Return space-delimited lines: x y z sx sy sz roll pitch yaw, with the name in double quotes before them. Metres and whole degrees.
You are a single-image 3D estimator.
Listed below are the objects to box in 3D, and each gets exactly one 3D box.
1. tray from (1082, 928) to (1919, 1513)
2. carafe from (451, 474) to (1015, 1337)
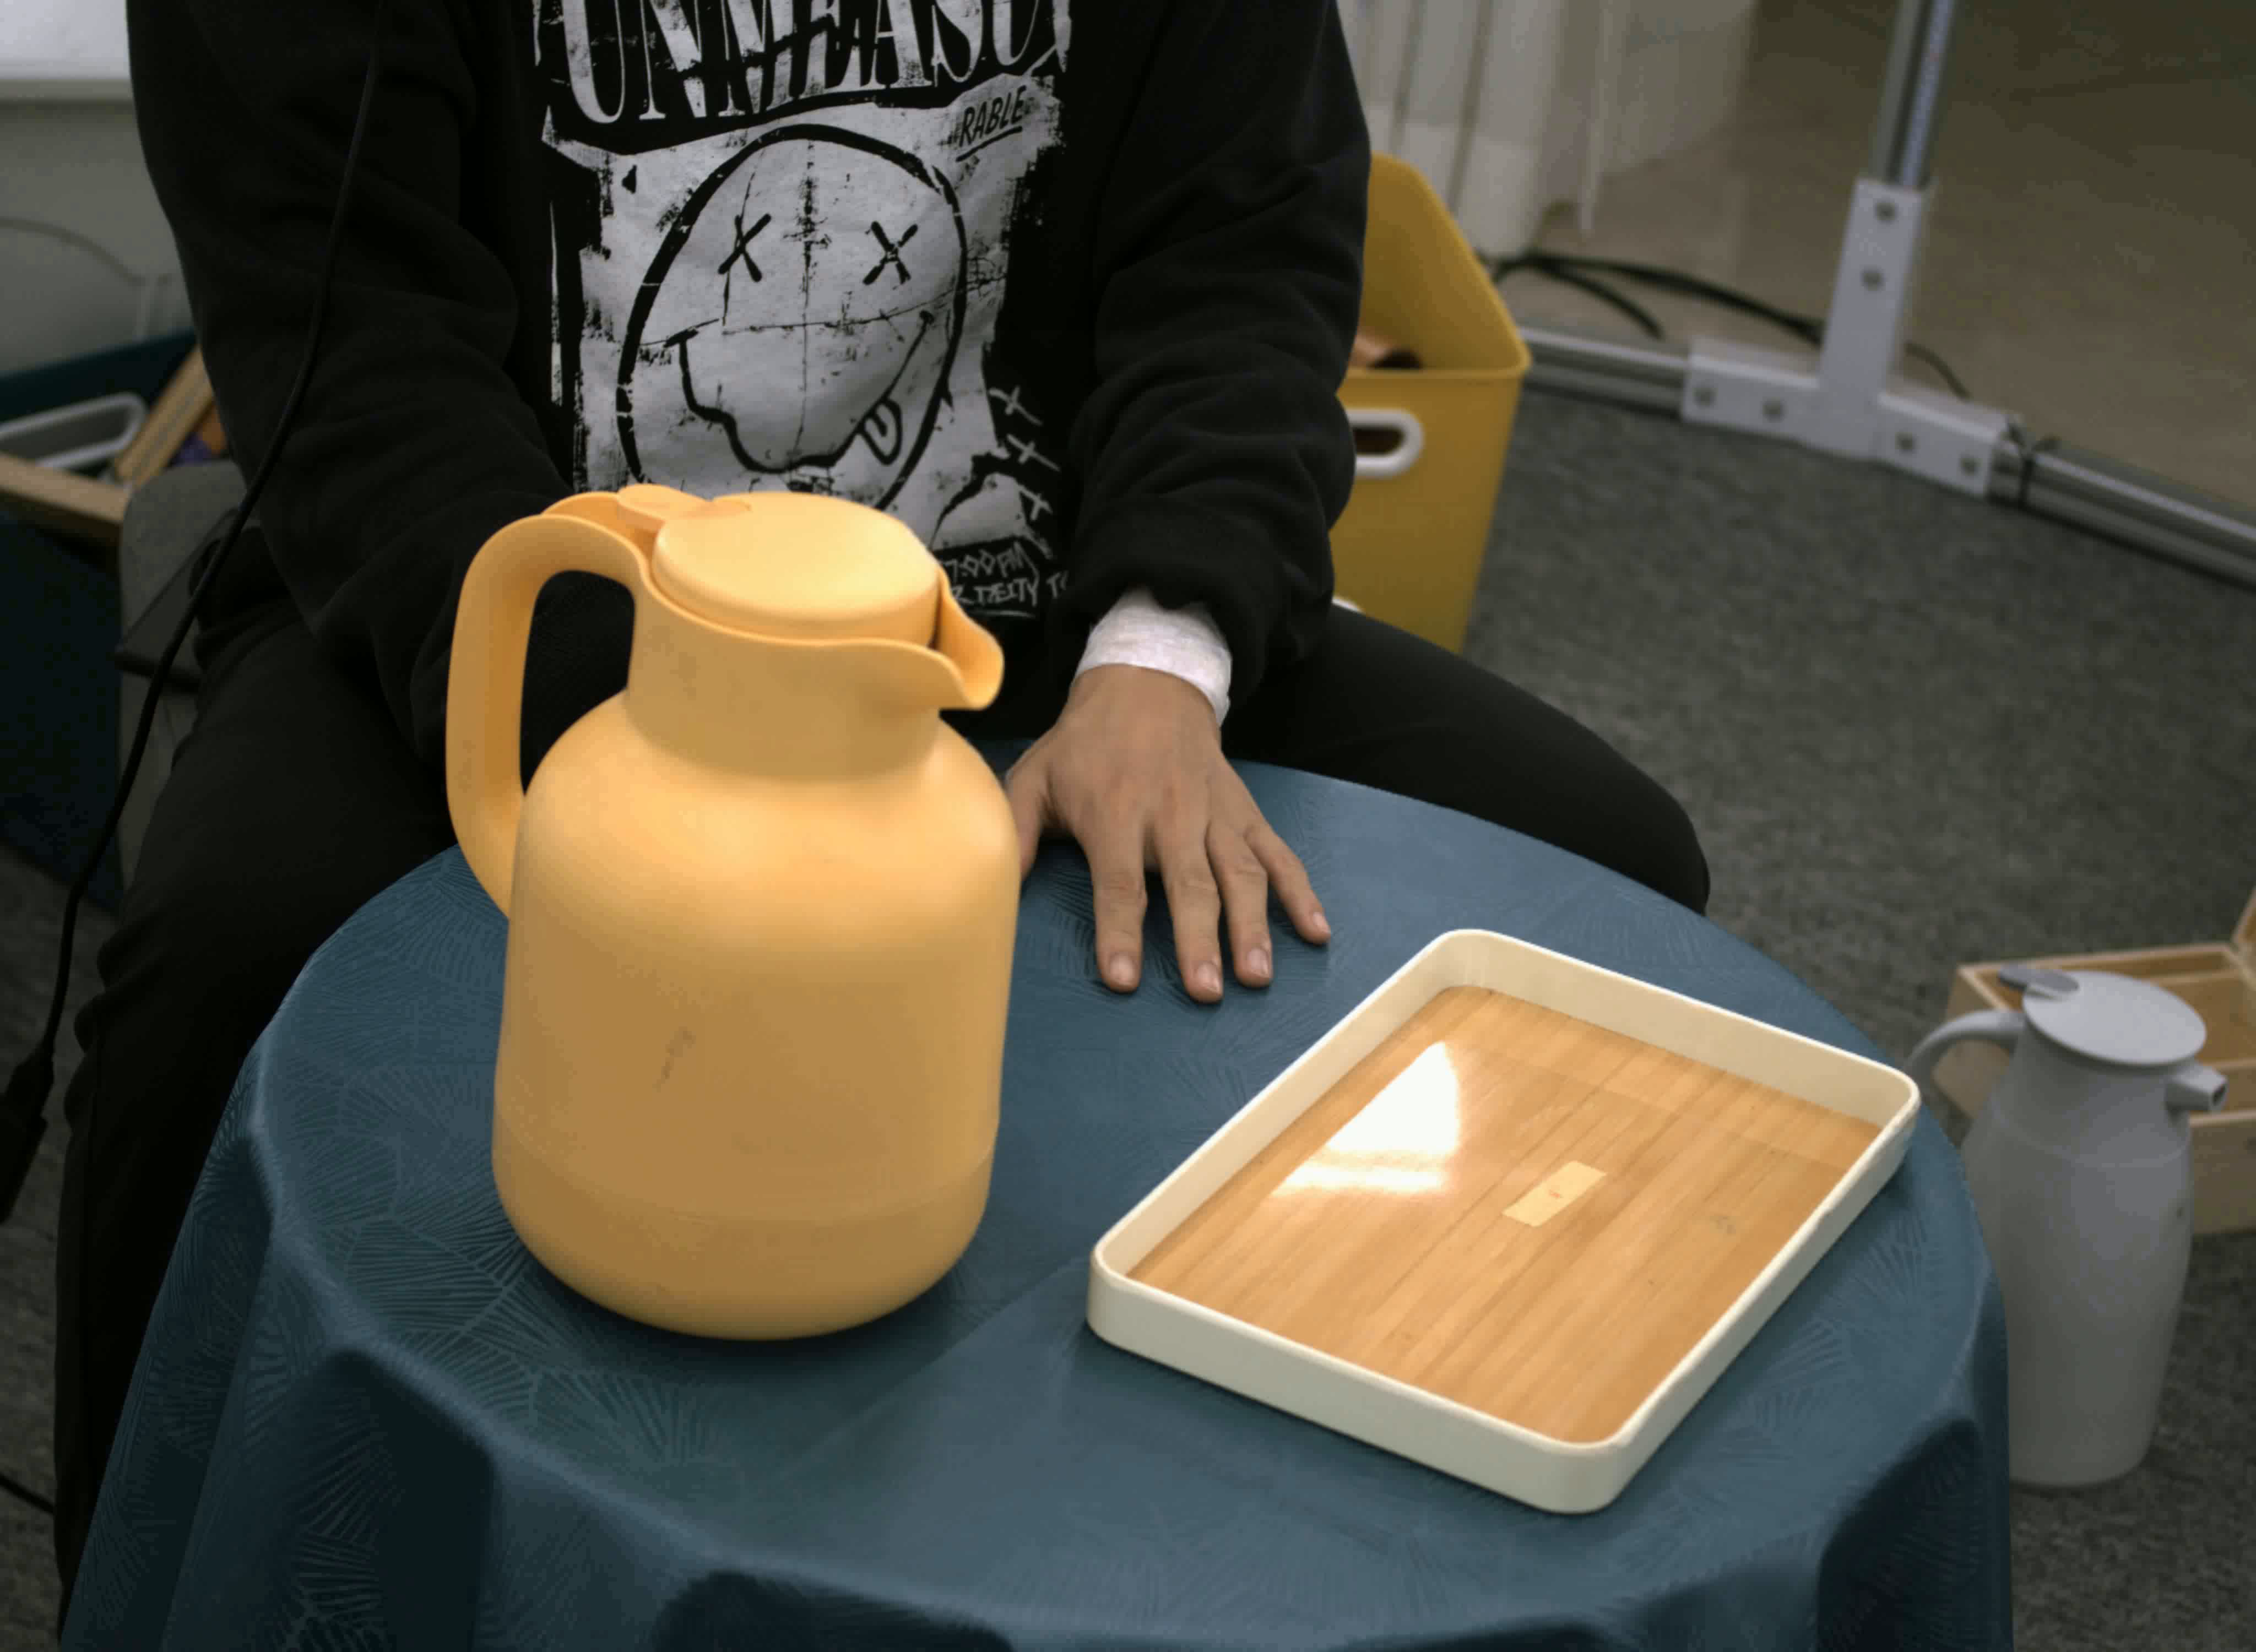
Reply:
"tray" 0.131 0.127 1.800 0.192 0.027 0.300 19 29 22
"carafe" -0.132 0.015 1.701 0.203 0.260 0.163 24 29 28
